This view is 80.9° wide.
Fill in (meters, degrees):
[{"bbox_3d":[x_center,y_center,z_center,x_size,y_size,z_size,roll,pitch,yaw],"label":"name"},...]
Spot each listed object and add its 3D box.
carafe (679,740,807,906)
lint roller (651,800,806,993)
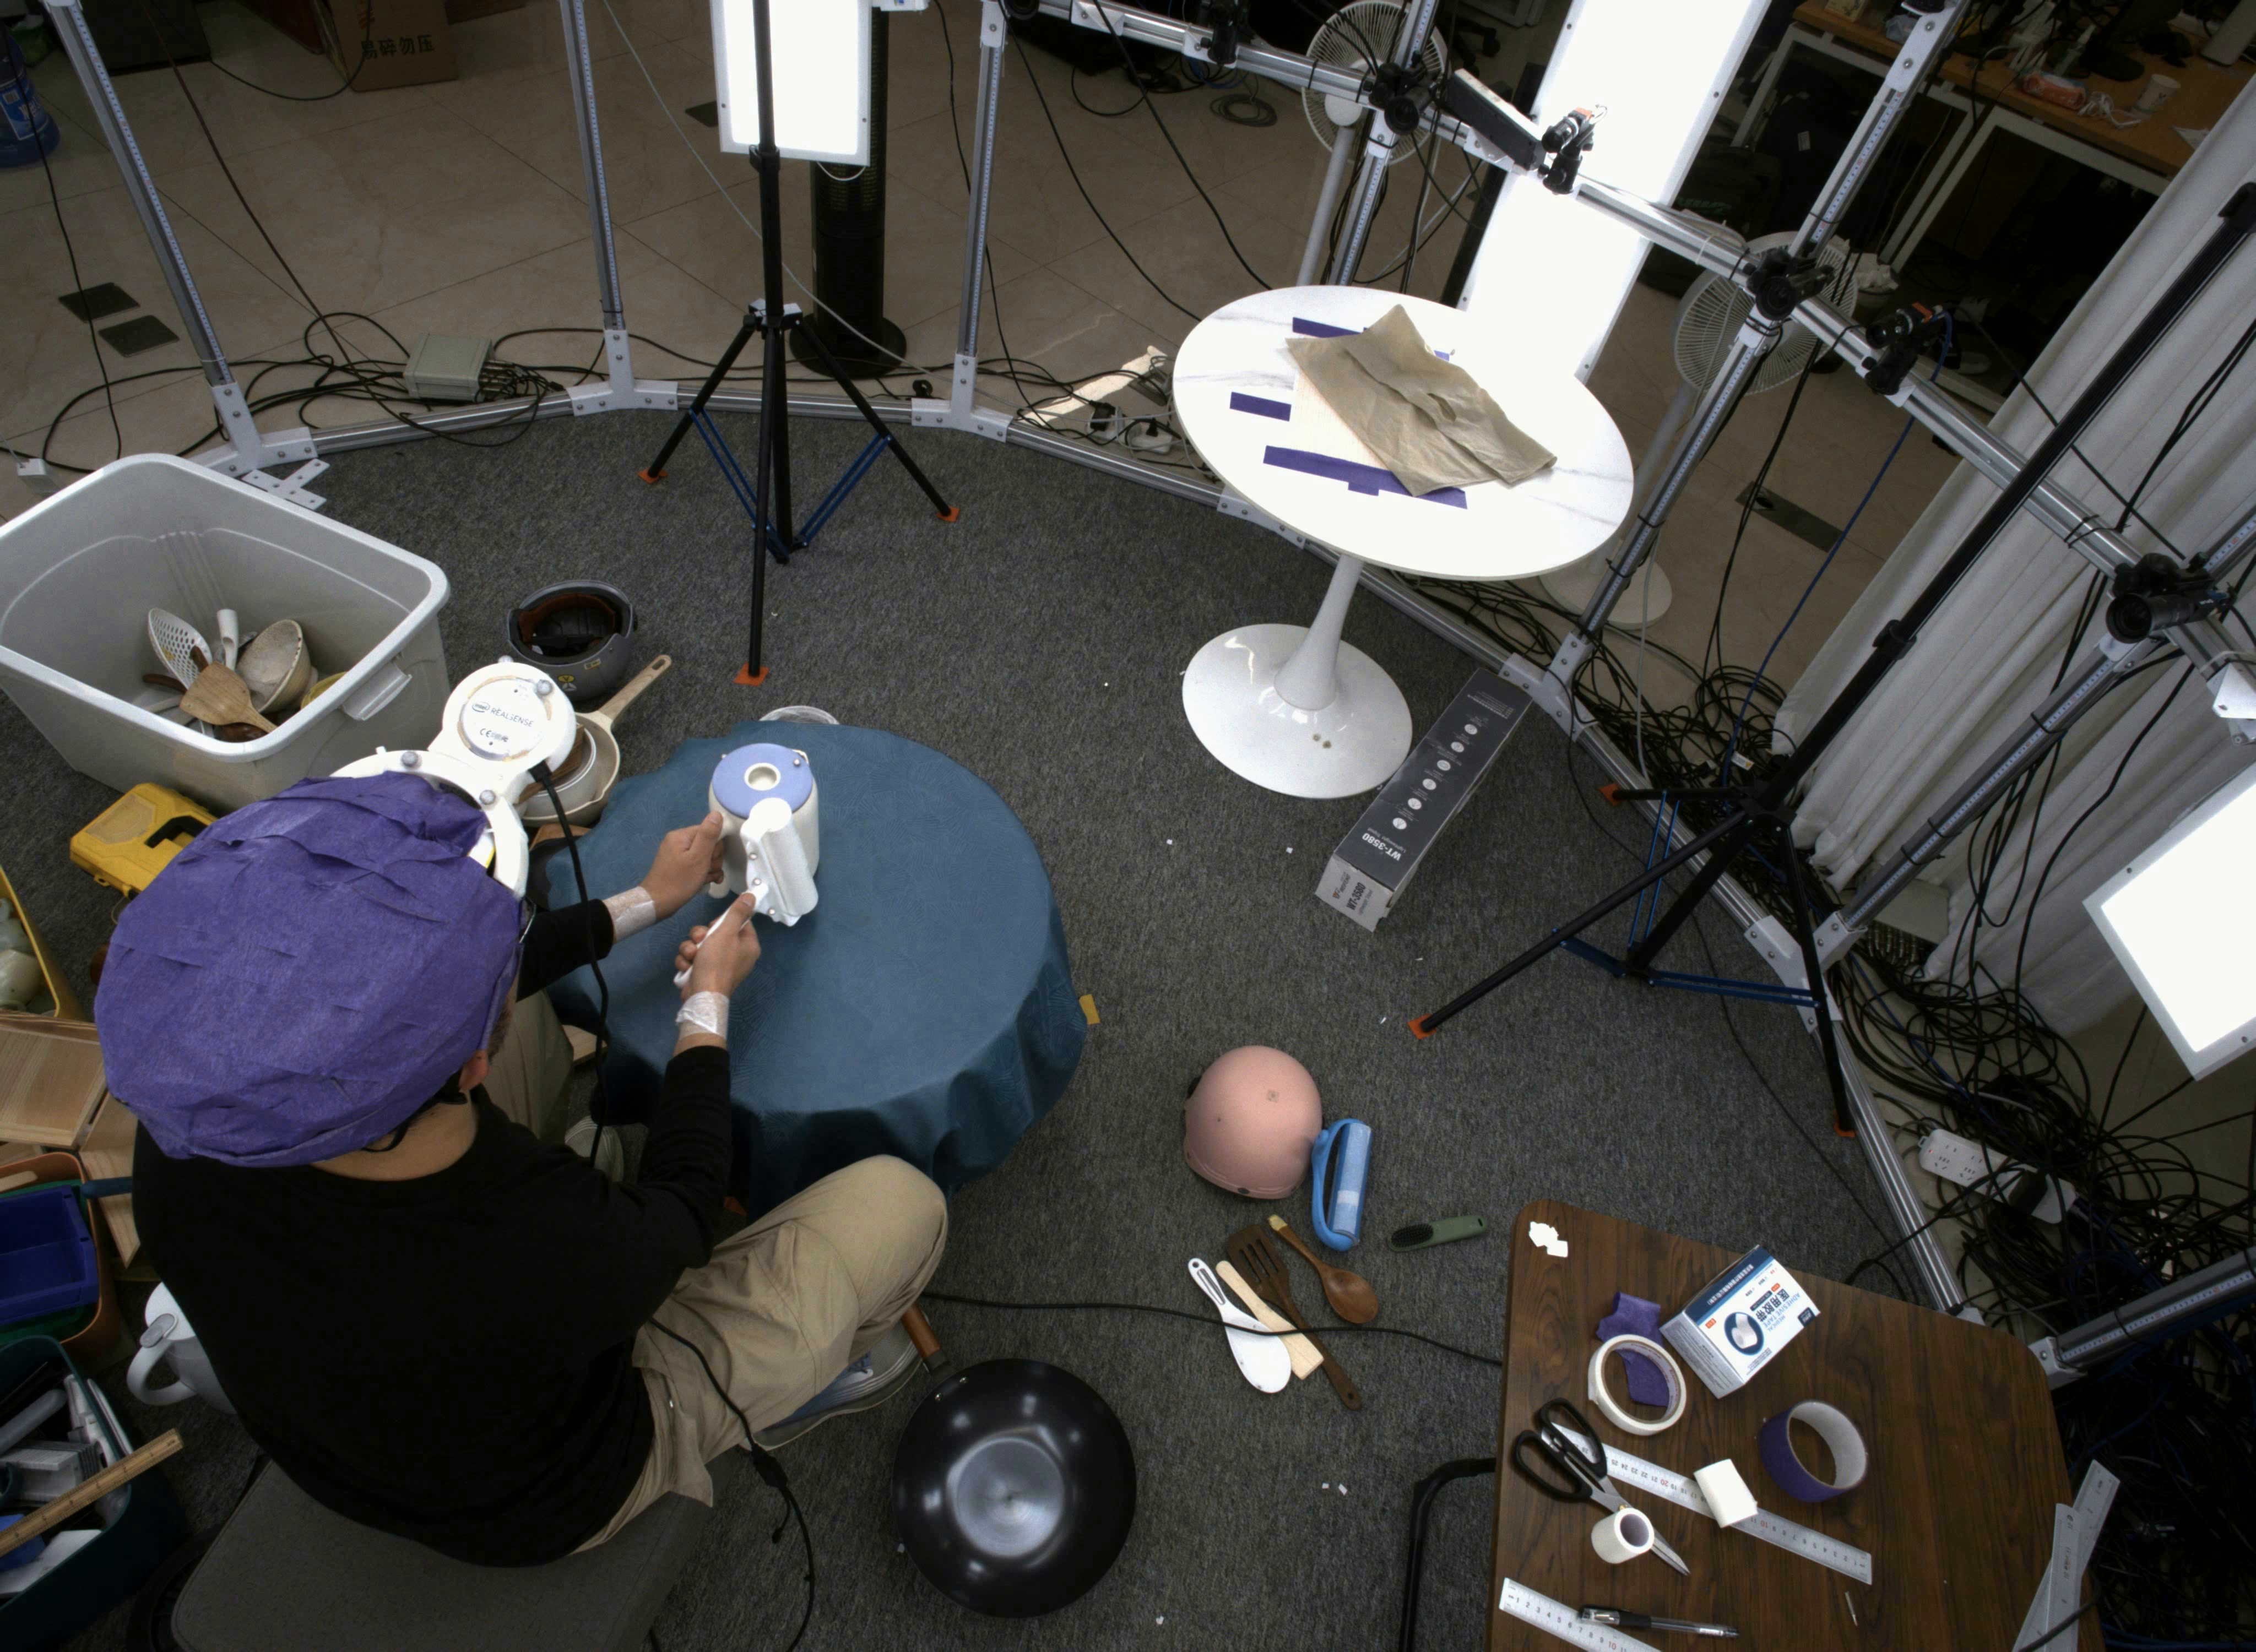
[{"bbox_3d":[-0.480,0.010,1.585,0.129,0.186,0.191,31,54,13],"label":"carafe"},{"bbox_3d":[-0.463,0.103,1.488,0.047,0.207,0.225,27,61,14],"label":"lint roller"}]
